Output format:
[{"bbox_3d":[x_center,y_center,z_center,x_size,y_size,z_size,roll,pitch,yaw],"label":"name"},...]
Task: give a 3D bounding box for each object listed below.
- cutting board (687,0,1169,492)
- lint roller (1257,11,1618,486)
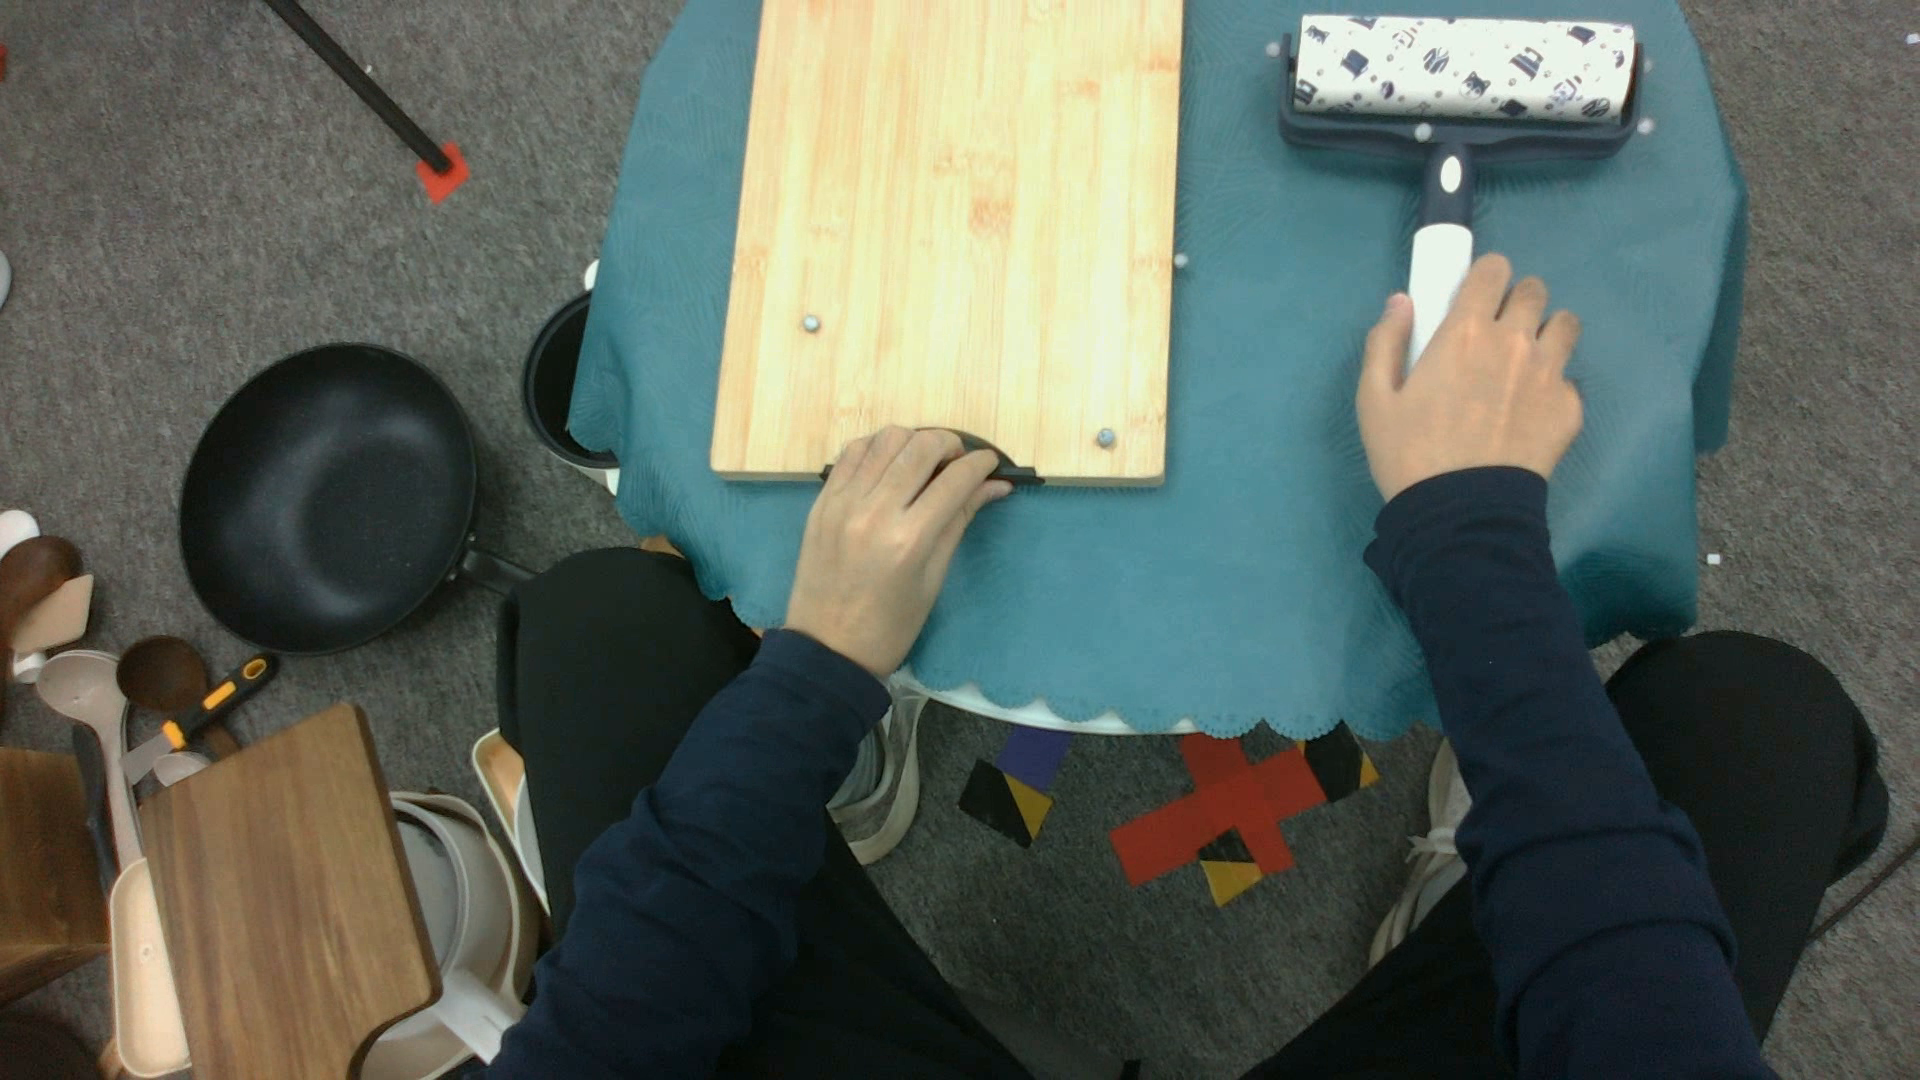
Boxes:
[{"bbox_3d":[-0.012,-0.196,0.757,0.250,0.023,0.349,0,75,9],"label":"cutting board"},{"bbox_3d":[0.233,-0.150,0.693,0.176,0.050,0.247,5,78,9],"label":"lint roller"}]
